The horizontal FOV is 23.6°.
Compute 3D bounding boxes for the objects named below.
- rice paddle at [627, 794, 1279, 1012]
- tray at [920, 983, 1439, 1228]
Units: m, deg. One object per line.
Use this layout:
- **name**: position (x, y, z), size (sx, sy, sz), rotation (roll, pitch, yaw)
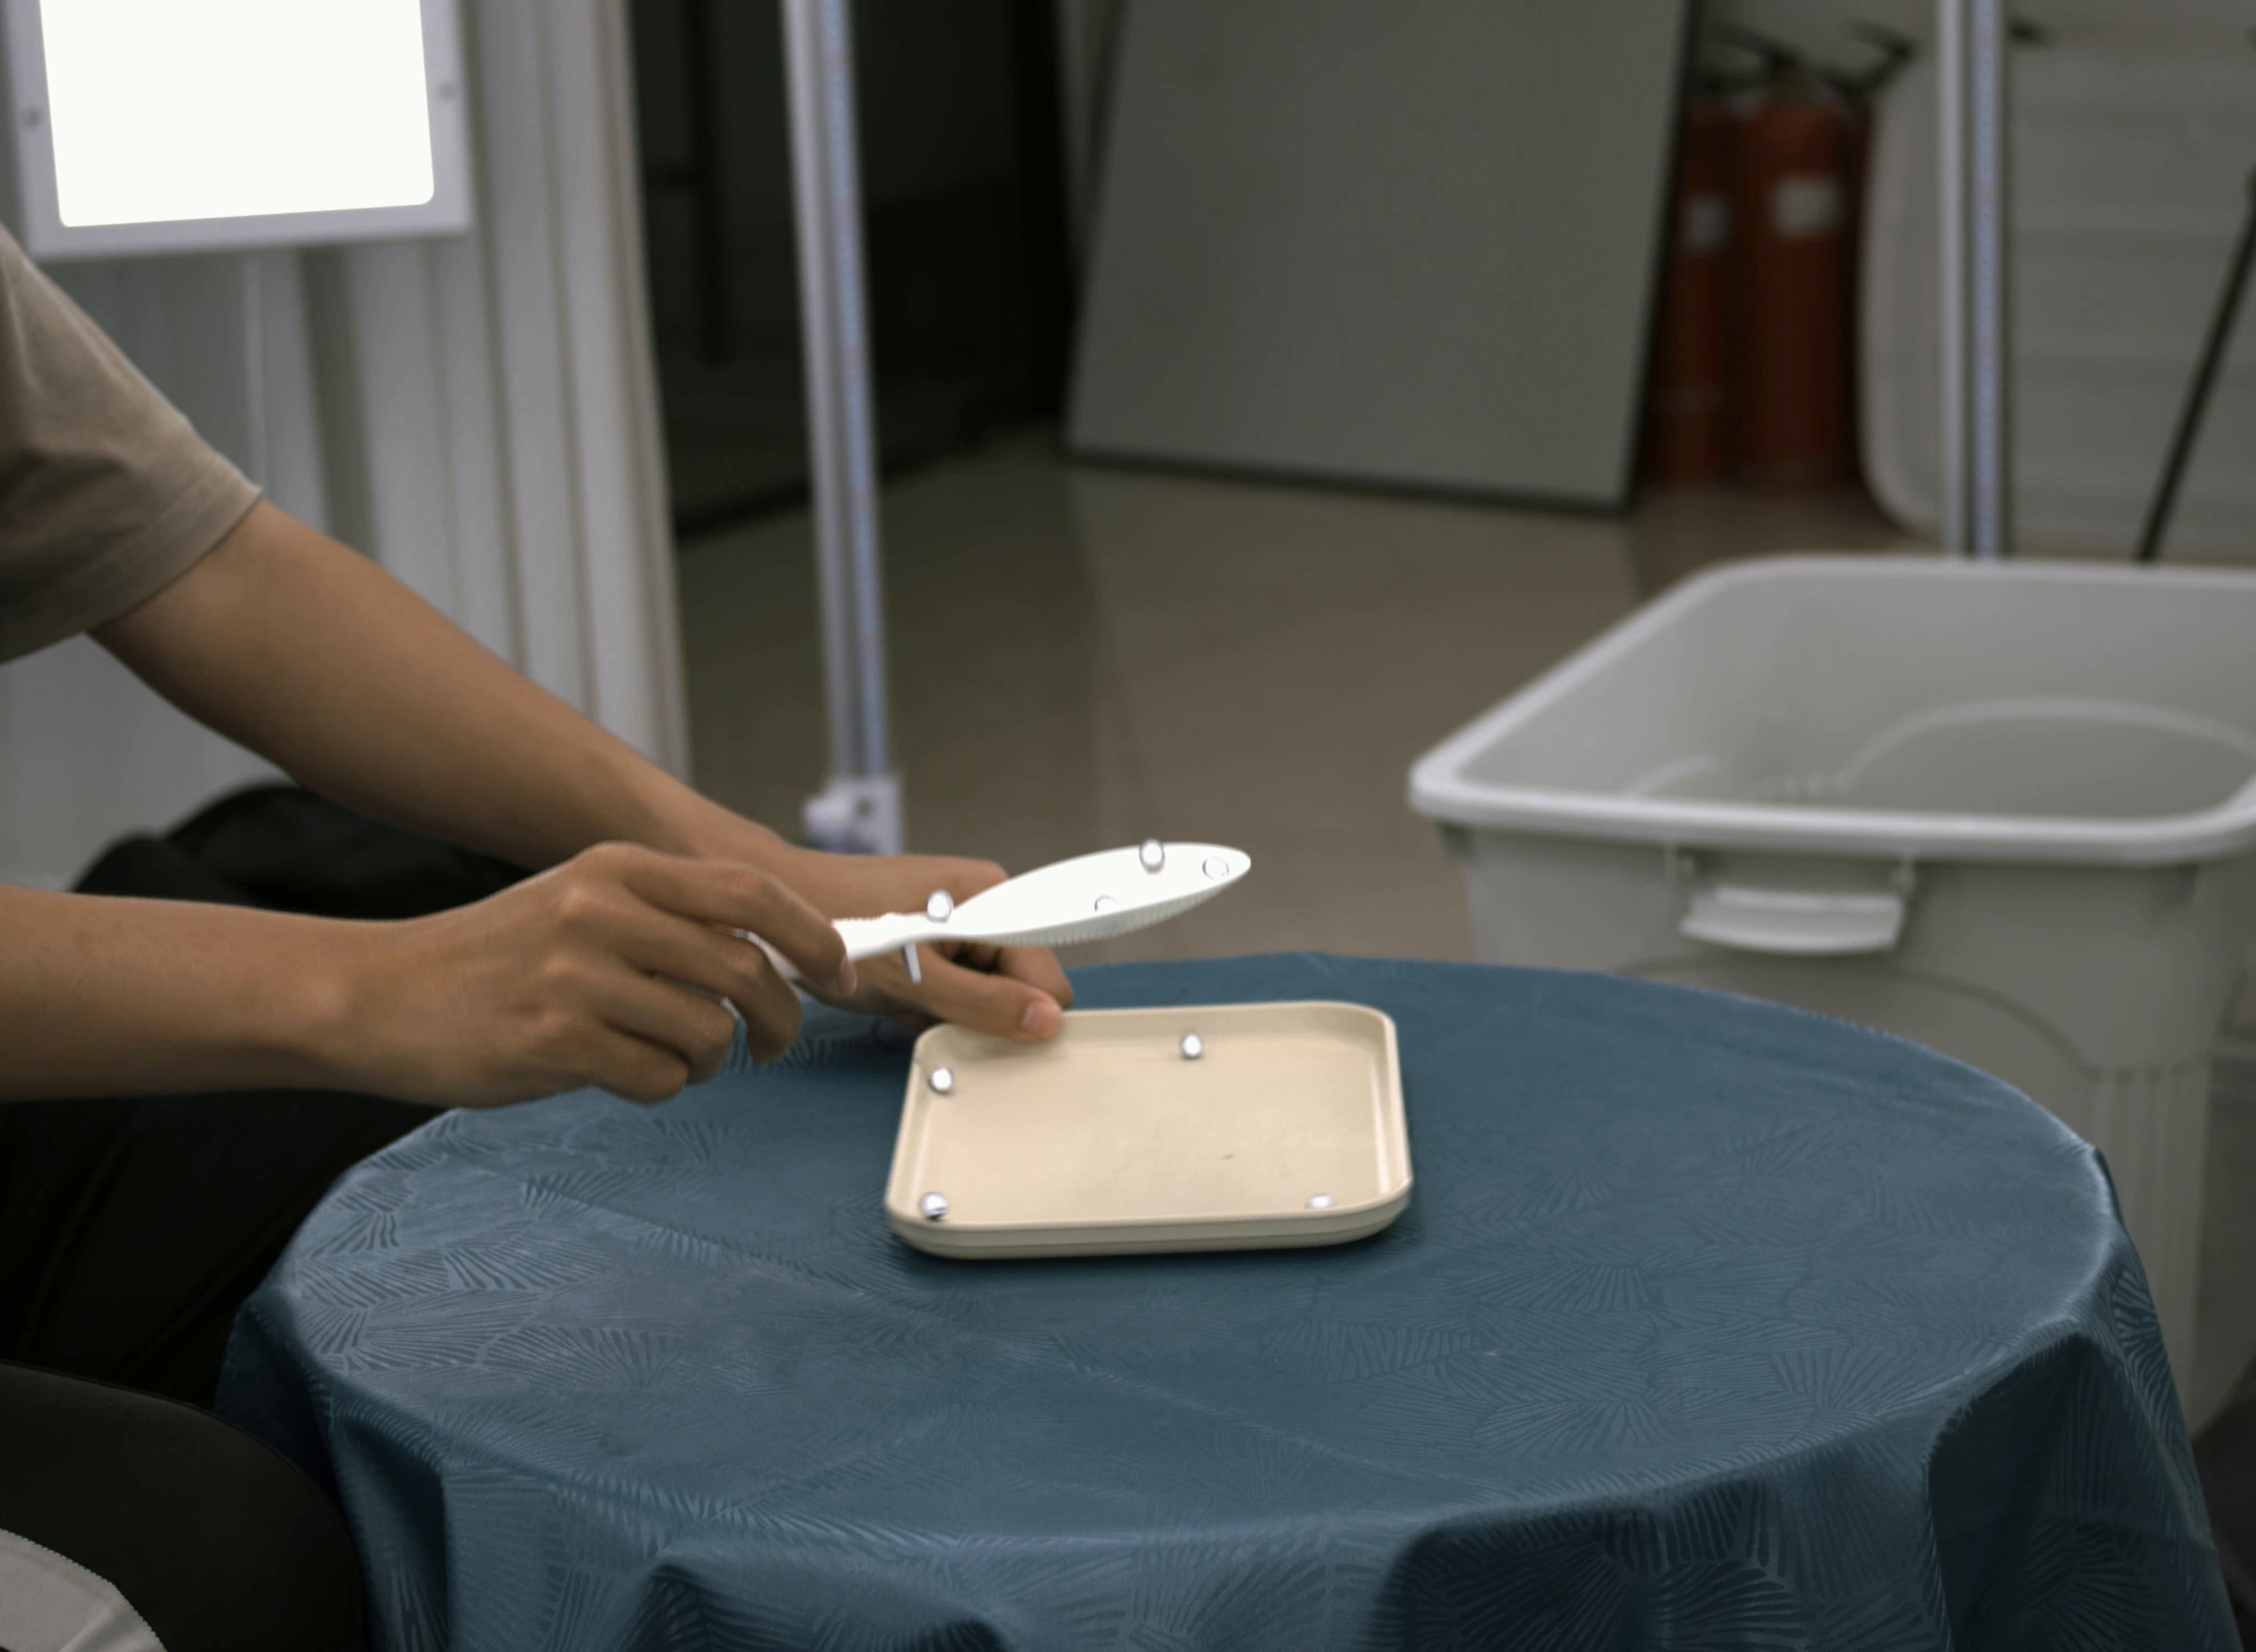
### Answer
- **rice paddle**: position (-0.051, 0.016, 1.640), size (0.202, 0.029, 0.069), rotation (-15, 15, -10)
- **tray**: position (0.019, 0.094, 1.819), size (0.169, 0.017, 0.239), rotation (-2, 13, 3)
